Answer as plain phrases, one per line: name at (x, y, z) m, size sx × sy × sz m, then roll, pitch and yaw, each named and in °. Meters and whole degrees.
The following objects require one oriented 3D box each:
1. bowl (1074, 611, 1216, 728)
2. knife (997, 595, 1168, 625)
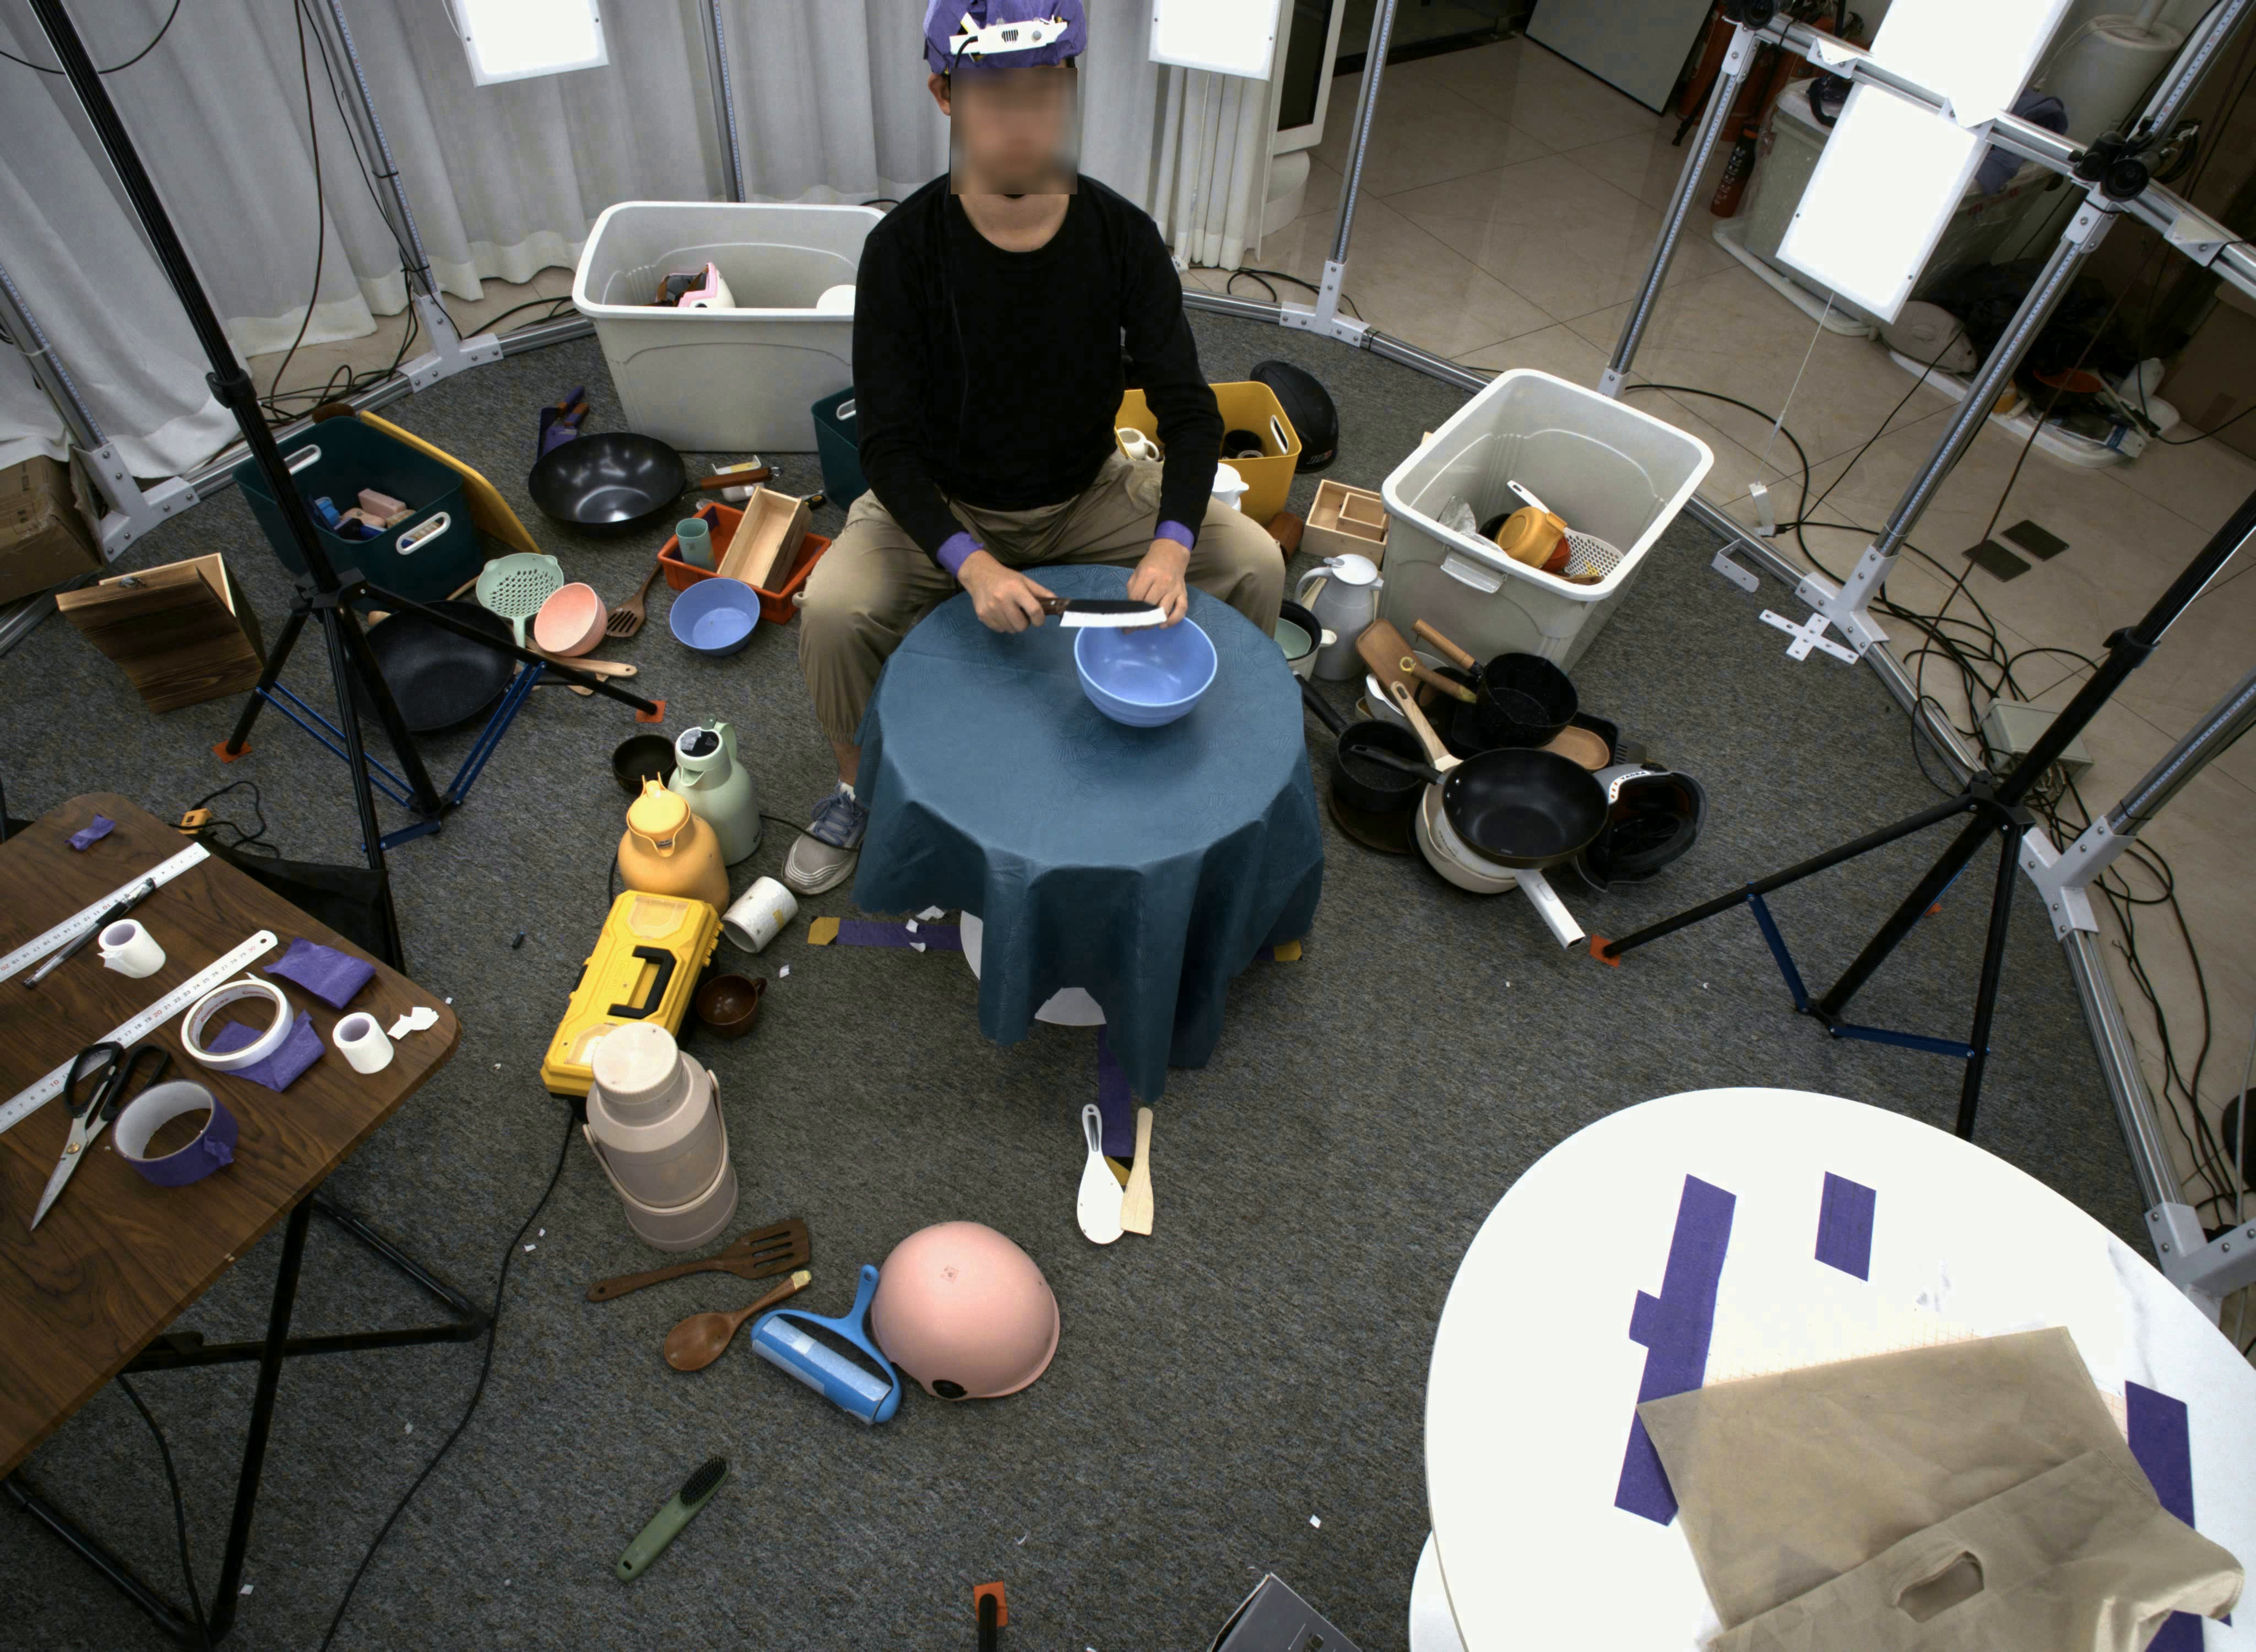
bowl at (0.019, -0.206, 1.786) m, size 0.196 × 0.093 × 0.201 m, roll 4°, pitch 49°, yaw -5°
knife at (-0.067, -0.301, 1.788) m, size 0.291 × 0.019 × 0.051 m, roll 9°, pitch 70°, yaw 32°
